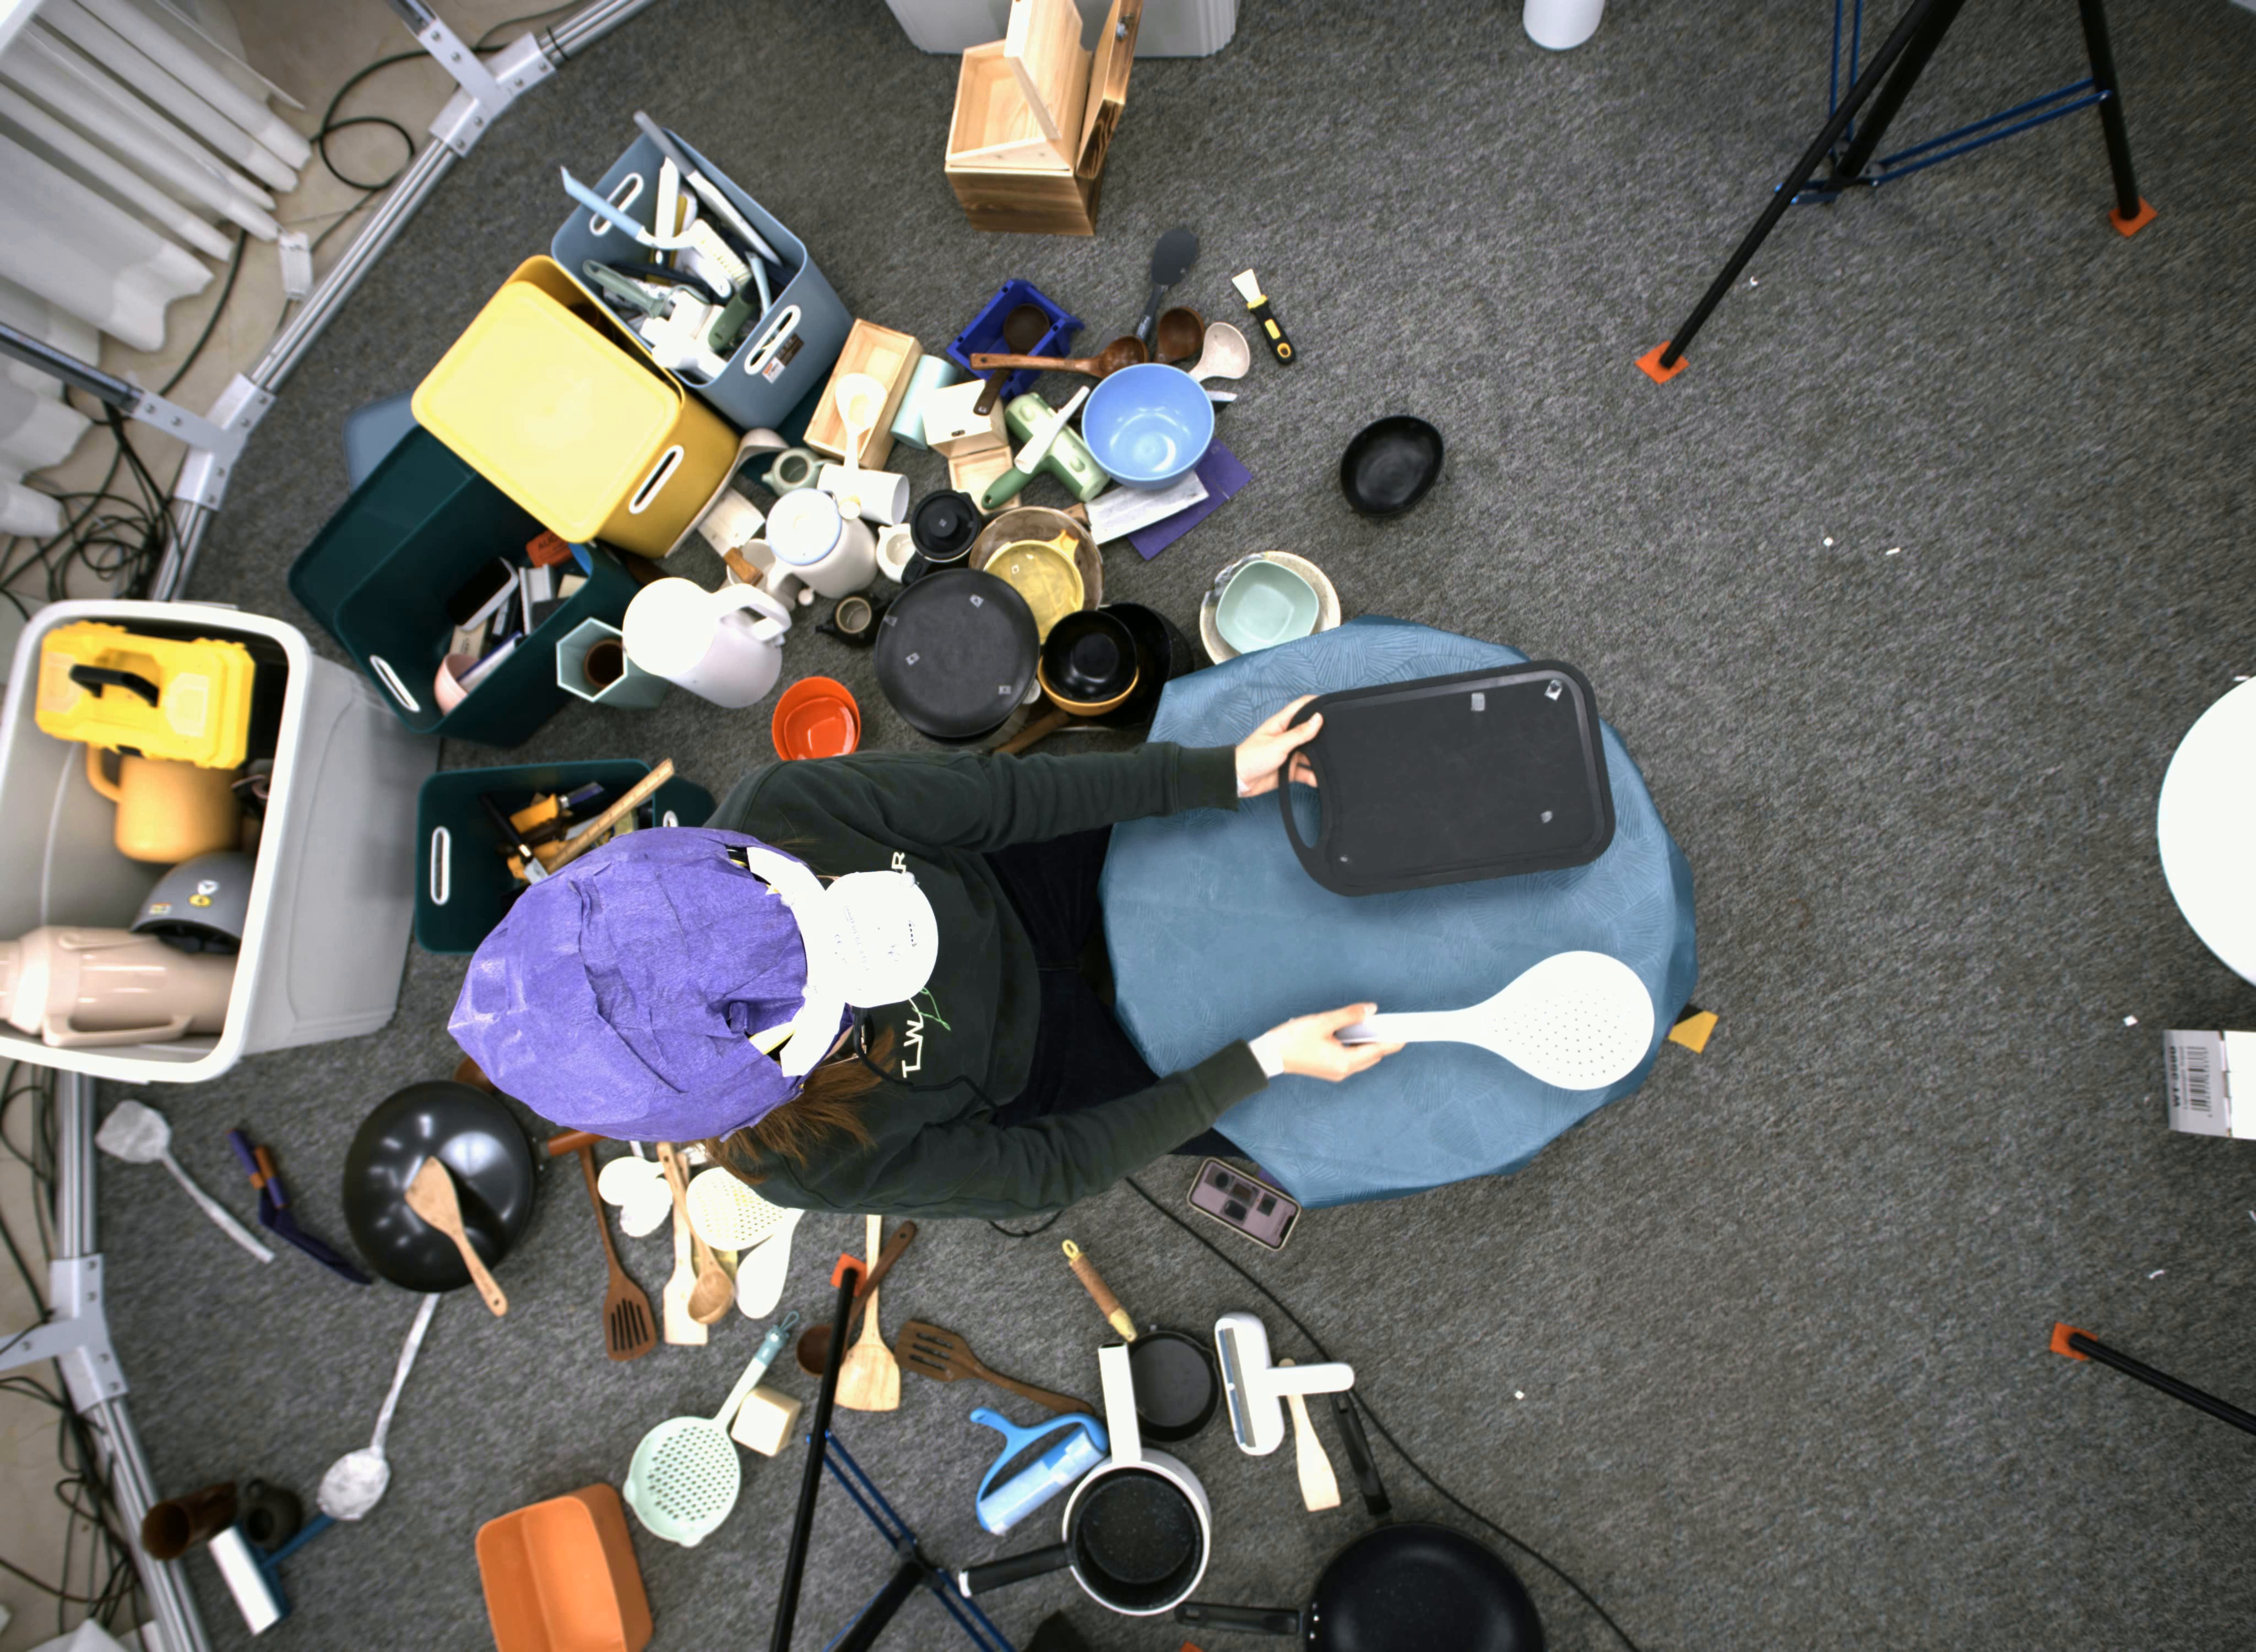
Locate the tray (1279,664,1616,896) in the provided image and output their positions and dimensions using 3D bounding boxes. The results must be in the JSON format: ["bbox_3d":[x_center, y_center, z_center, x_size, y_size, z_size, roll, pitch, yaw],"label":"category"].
[{"bbox_3d":[0.315,-0.046,1.377,0.327,0.010,0.210,-8,85,9],"label":"tray"}]

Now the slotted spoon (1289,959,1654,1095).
[{"bbox_3d":[0.334,0.199,1.364,0.351,0.045,0.137,-5,100,10],"label":"slotted spoon"}]
